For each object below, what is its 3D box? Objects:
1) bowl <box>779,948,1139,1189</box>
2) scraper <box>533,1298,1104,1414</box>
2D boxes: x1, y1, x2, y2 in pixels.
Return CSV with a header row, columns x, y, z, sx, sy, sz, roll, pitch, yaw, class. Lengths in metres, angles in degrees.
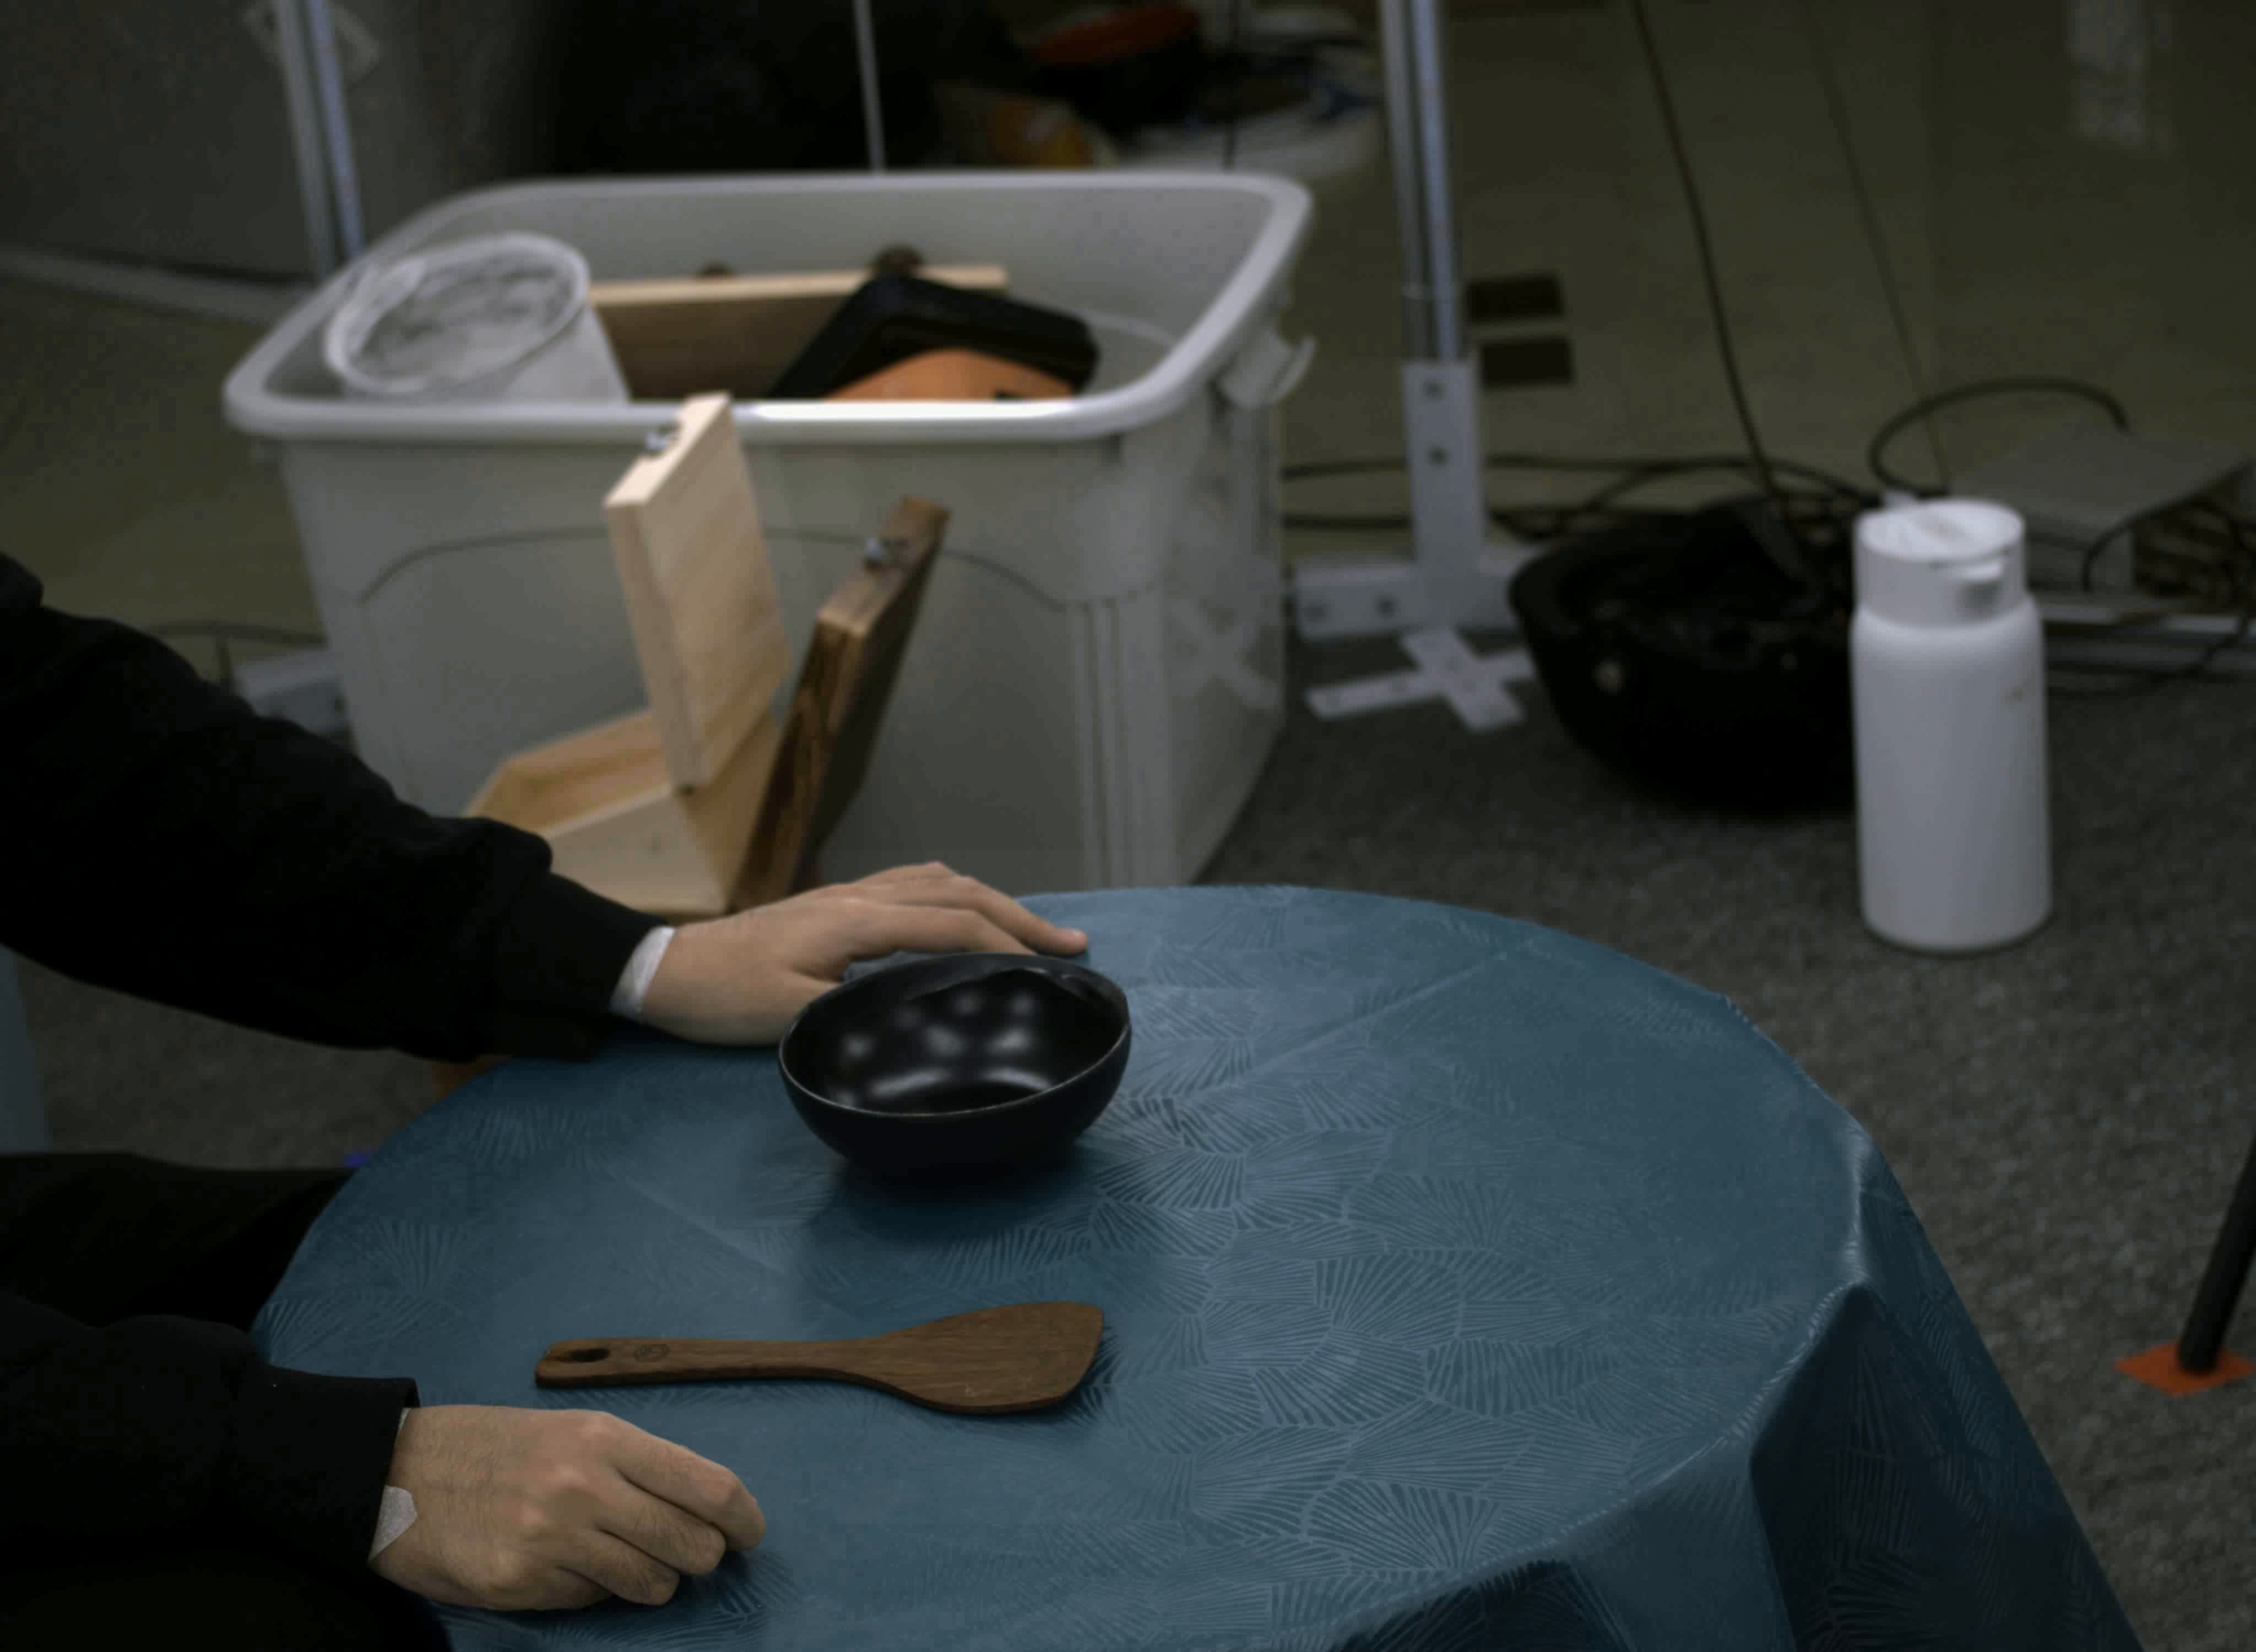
x,y,z,sx,sy,sz,roll,pitch,yaw,class
-0.063,0.101,2.193,0.140,0.050,0.138,-6,28,3,bowl
-0.113,0.193,2.055,0.211,0.011,0.075,-2,24,12,scraper
